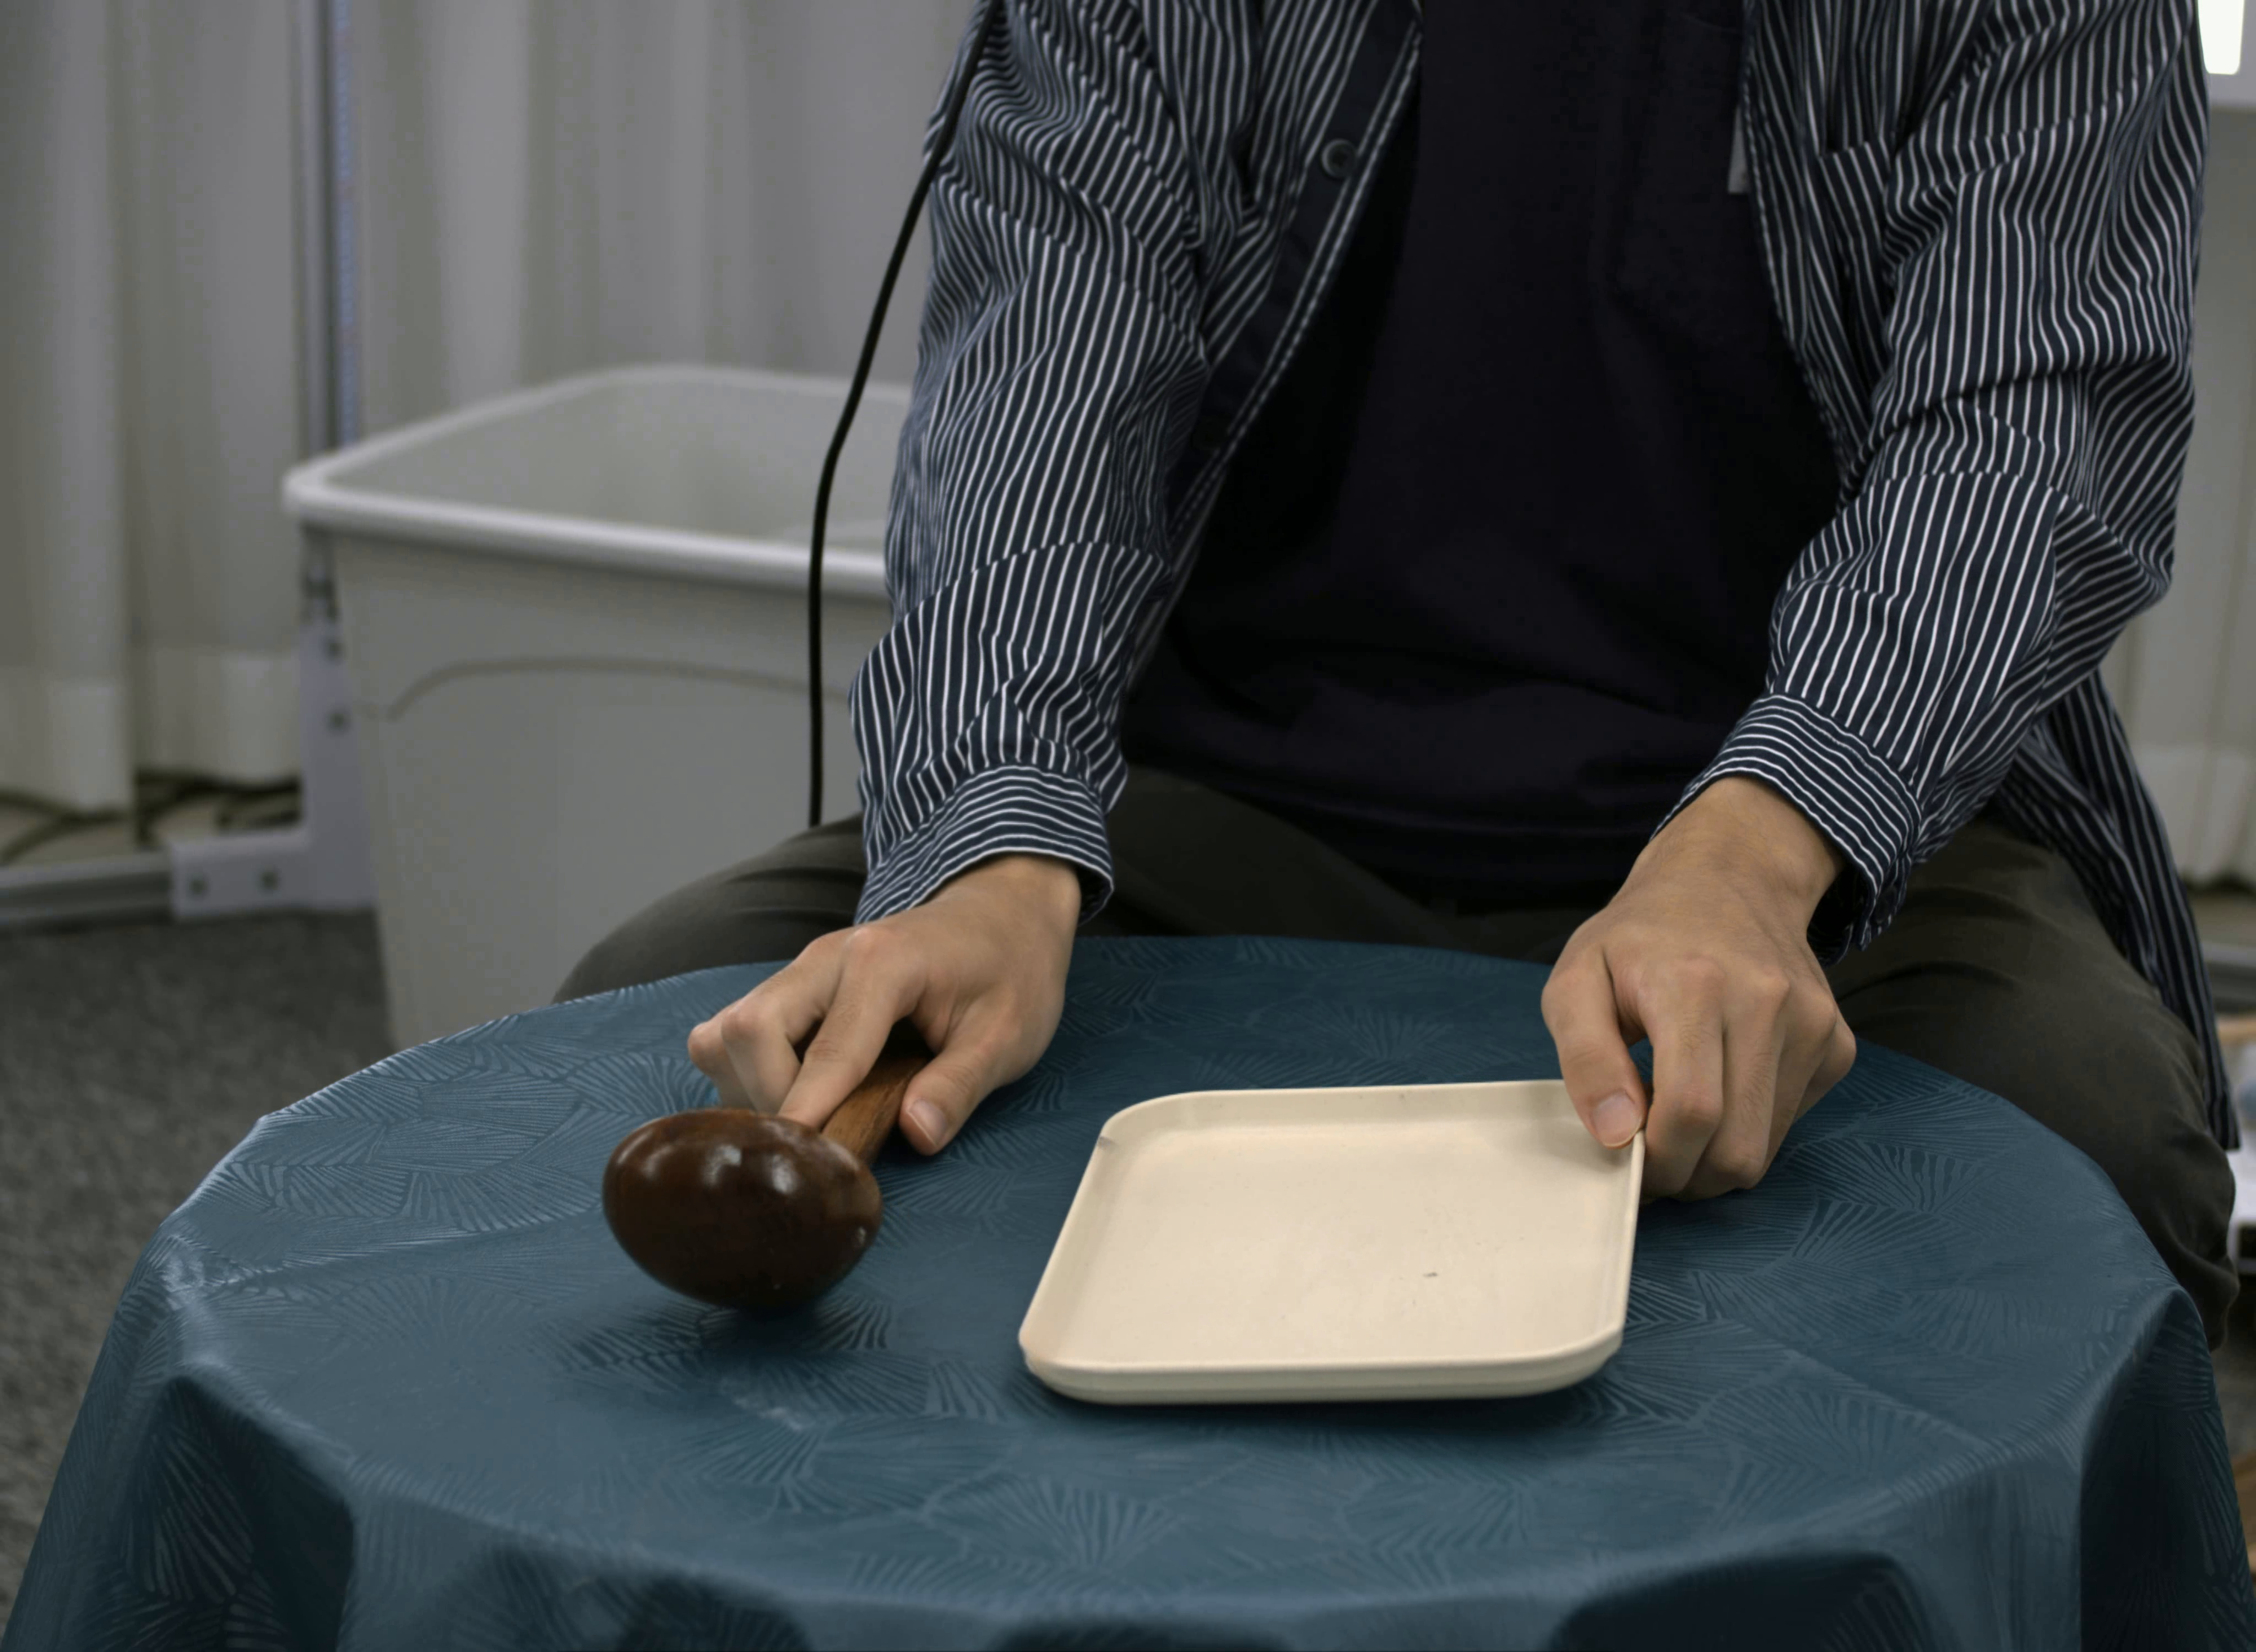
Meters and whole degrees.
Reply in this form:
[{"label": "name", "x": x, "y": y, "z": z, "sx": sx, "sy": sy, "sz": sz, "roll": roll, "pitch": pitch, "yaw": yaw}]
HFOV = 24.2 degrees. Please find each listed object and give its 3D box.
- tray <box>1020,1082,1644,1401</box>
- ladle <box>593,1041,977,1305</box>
[{"label": "tray", "x": 0.065, "y": 0.121, "z": 1.547, "sx": 0.170, "sy": 0.017, "sz": 0.239, "roll": -1, "pitch": 15, "yaw": 8}, {"label": "ladle", "x": -0.091, "y": 0.080, "z": 1.596, "sx": 0.081, "sy": 0.077, "sz": 0.273, "roll": 5, "pitch": 16, "yaw": 11}]
